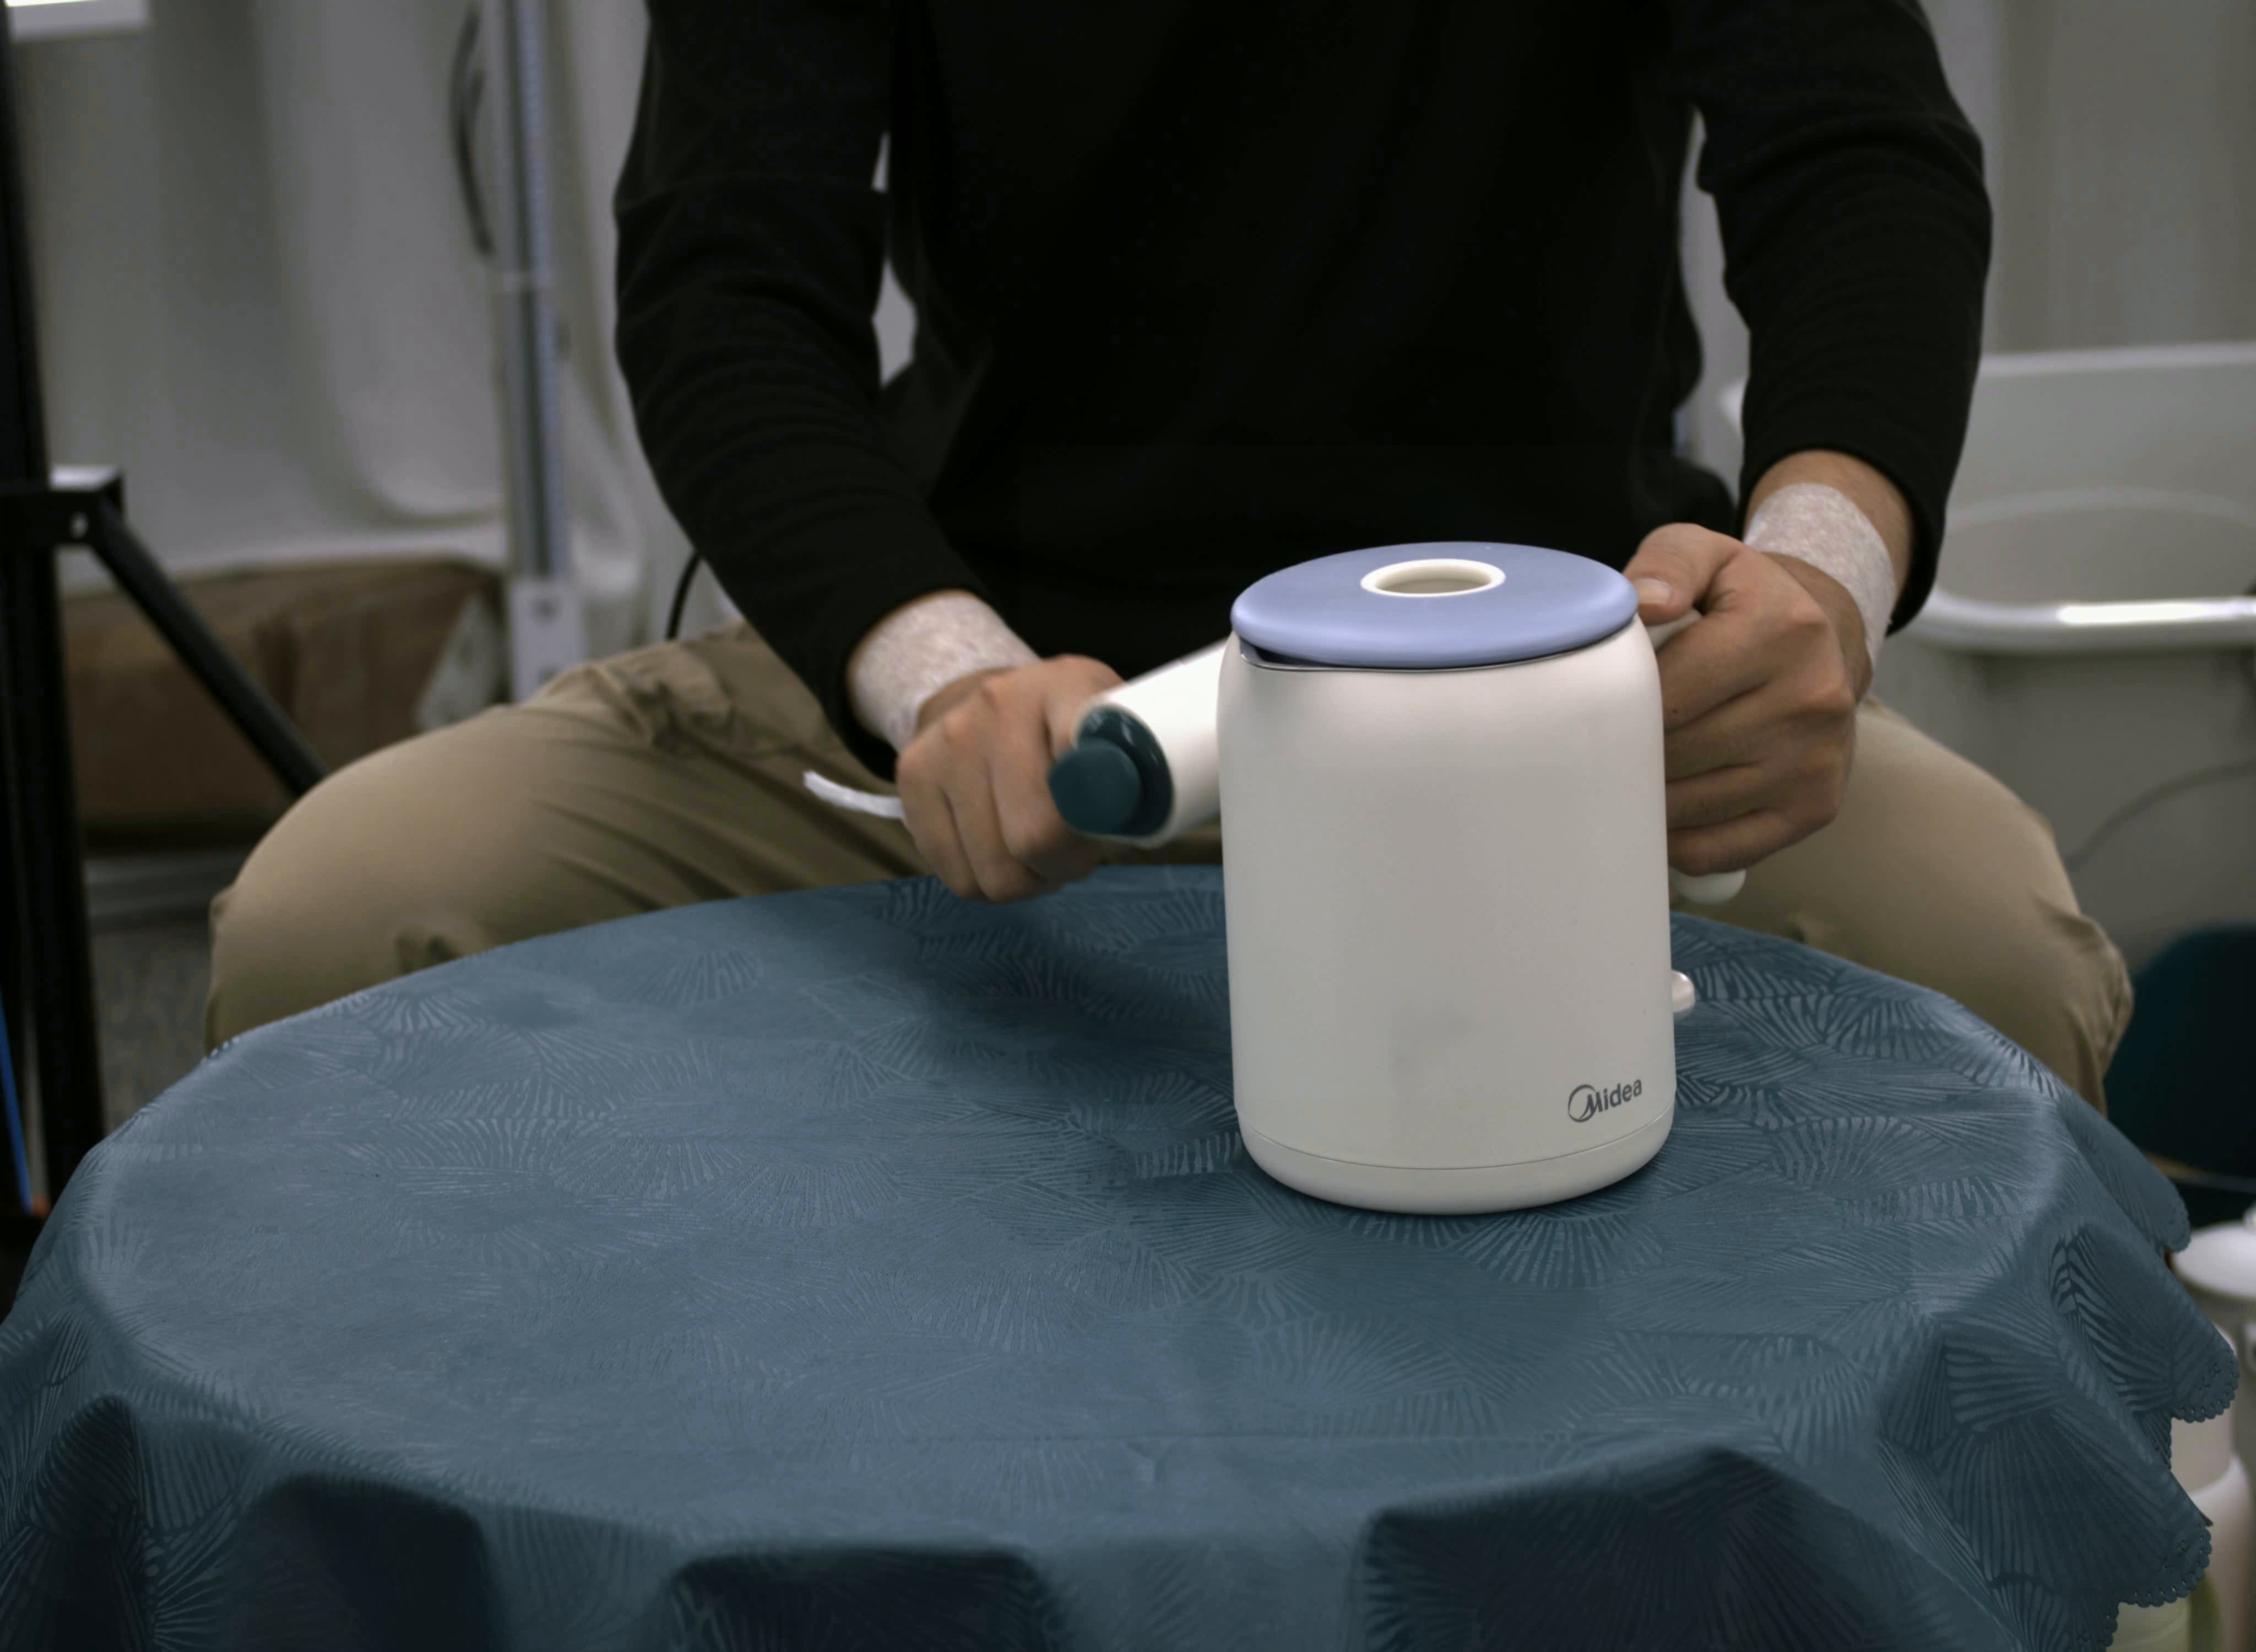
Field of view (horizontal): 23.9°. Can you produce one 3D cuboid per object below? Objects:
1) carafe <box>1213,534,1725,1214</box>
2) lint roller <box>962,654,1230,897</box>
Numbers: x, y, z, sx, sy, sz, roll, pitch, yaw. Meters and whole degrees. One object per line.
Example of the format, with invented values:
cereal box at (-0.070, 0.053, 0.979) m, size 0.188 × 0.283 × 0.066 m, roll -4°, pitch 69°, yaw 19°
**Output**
carafe at (0.111, 0.008, 1.570) m, size 0.186 × 0.182 × 0.135 m, roll -14°, pitch 20°, yaw -38°
lint roller at (-0.004, -0.016, 1.684) m, size 0.131 × 0.048 × 0.183 m, roll -24°, pitch 4°, yaw -37°
